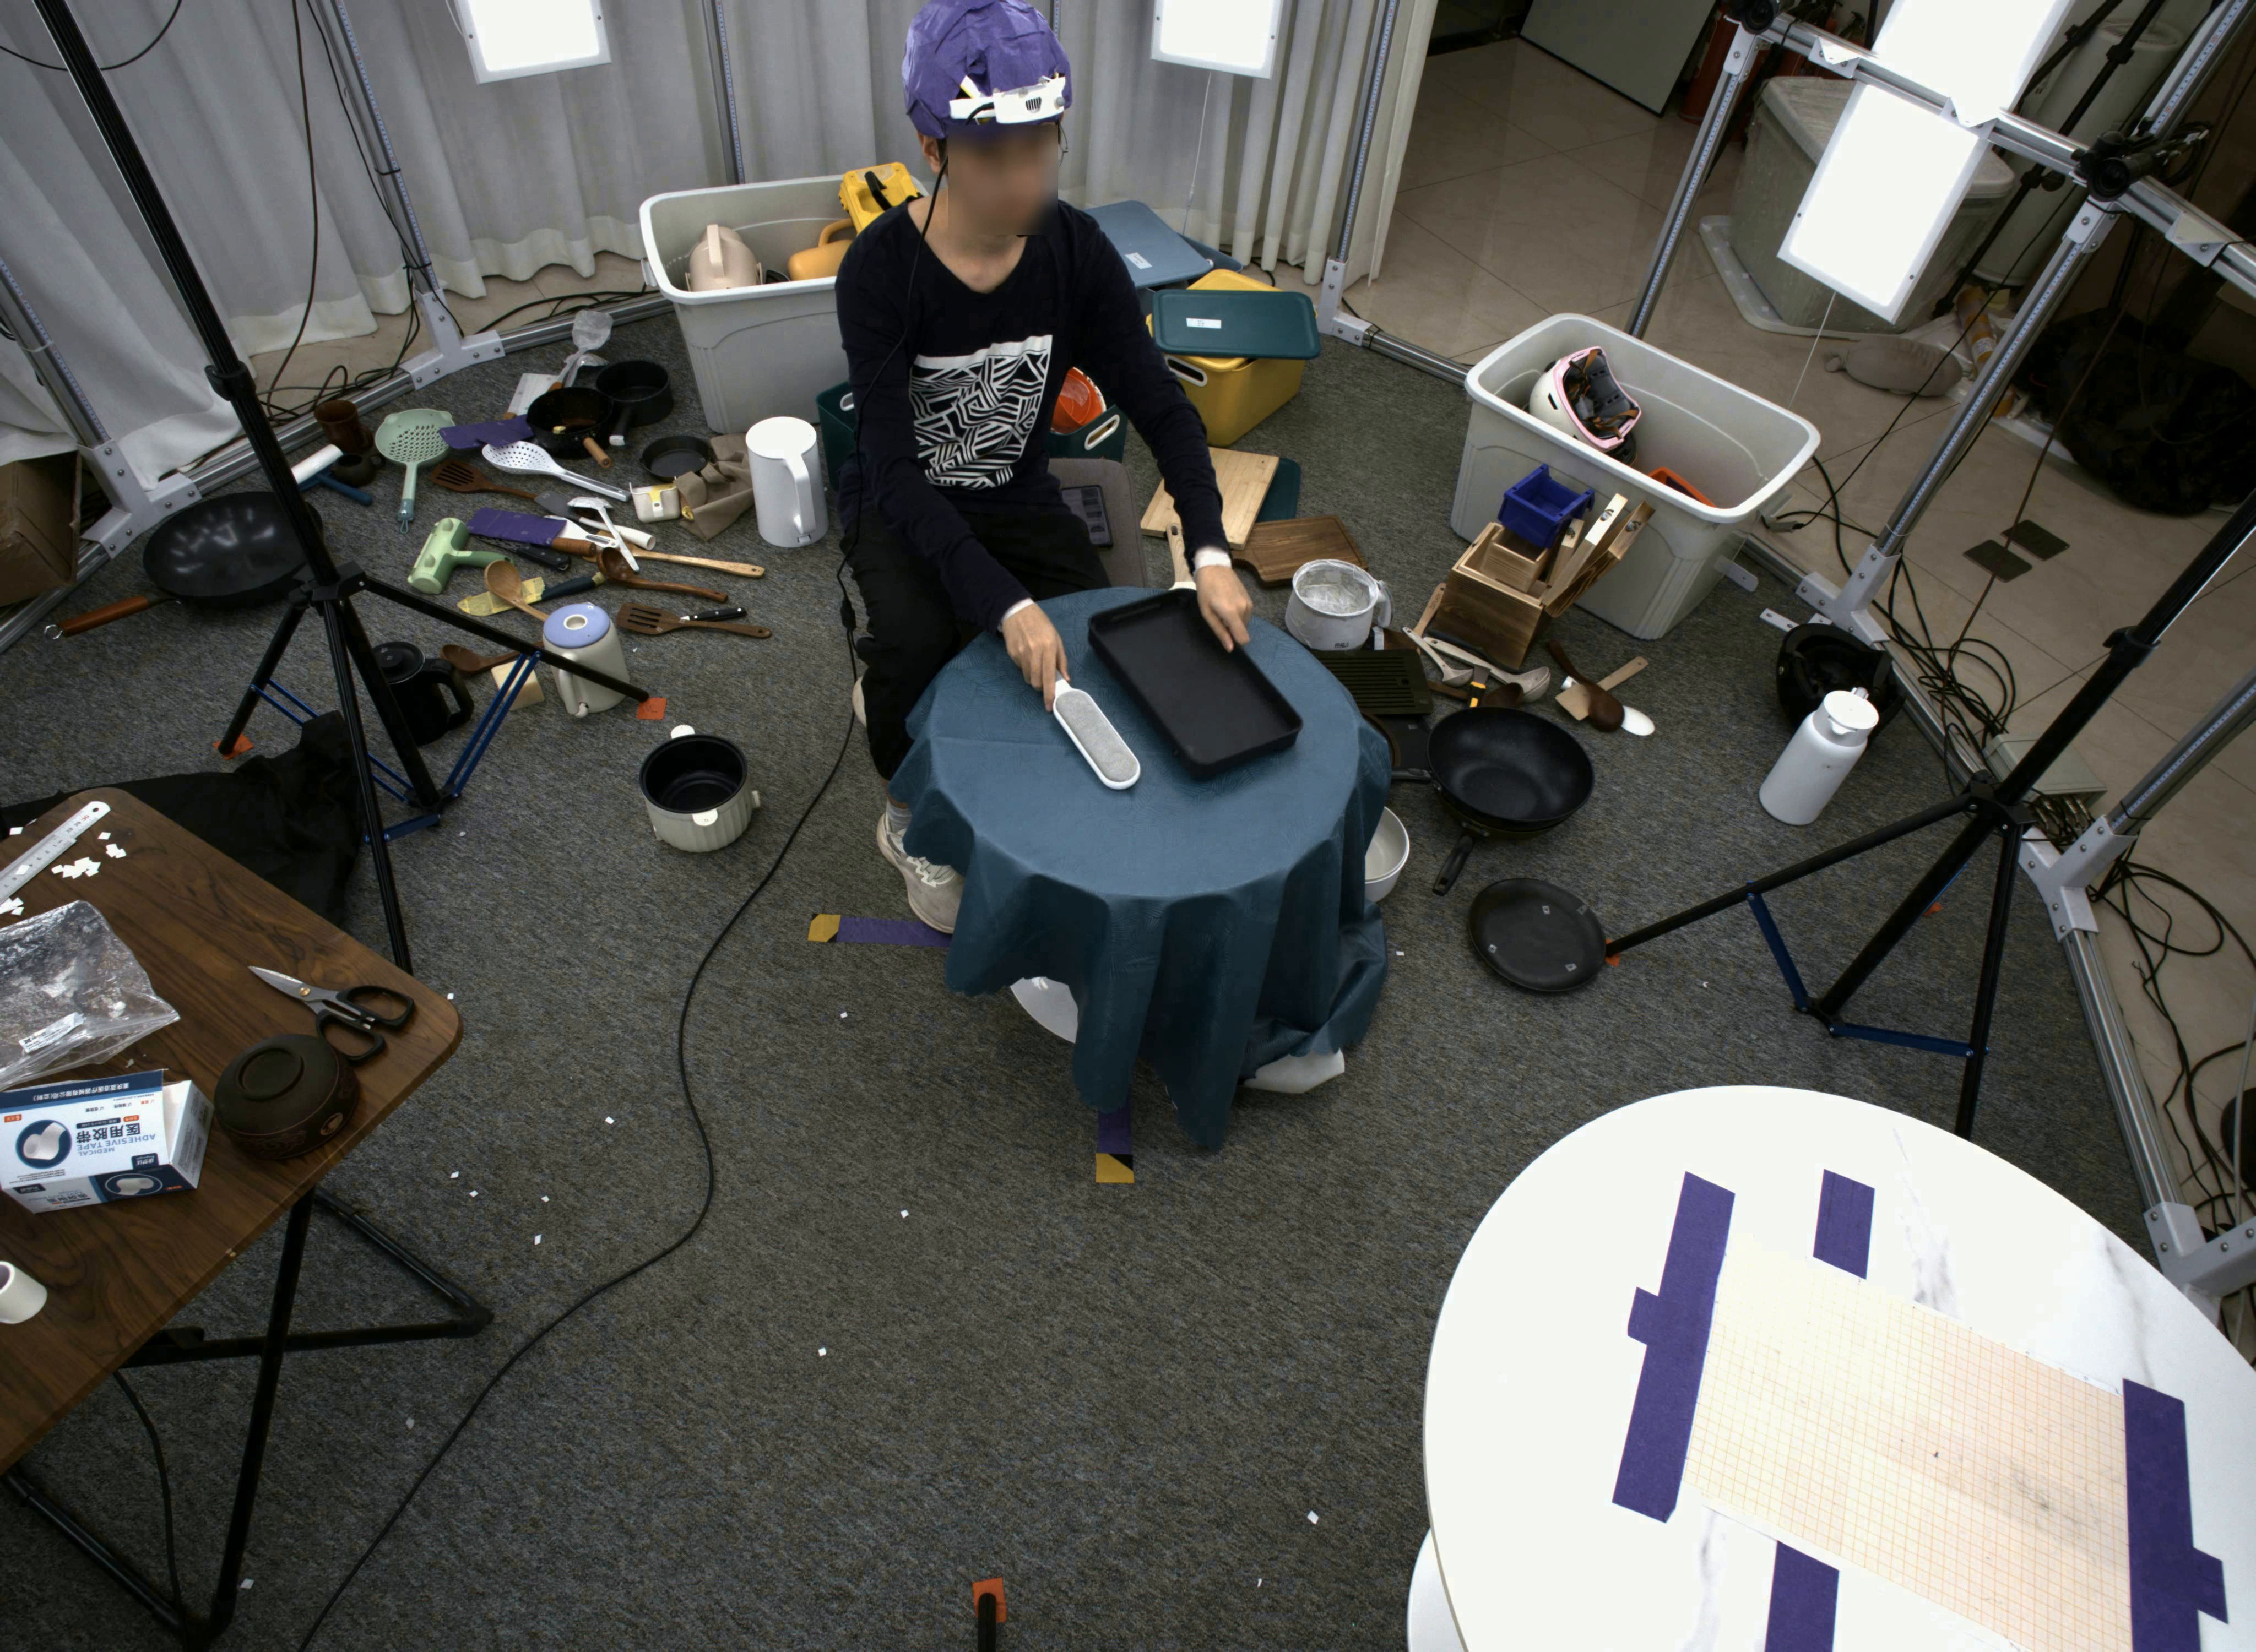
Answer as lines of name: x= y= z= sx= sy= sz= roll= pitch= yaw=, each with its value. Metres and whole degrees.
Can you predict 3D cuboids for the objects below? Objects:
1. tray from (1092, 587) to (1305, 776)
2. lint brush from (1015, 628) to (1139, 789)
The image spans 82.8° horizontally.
tray: x=0.093 y=-0.211 z=1.810 sx=0.184 sy=0.036 sz=0.324 roll=-18 pitch=55 yaw=-24
lint brush: x=-0.076 y=-0.169 z=1.776 sx=0.060 sy=0.020 sz=0.315 roll=-29 pitch=60 yaw=-11
